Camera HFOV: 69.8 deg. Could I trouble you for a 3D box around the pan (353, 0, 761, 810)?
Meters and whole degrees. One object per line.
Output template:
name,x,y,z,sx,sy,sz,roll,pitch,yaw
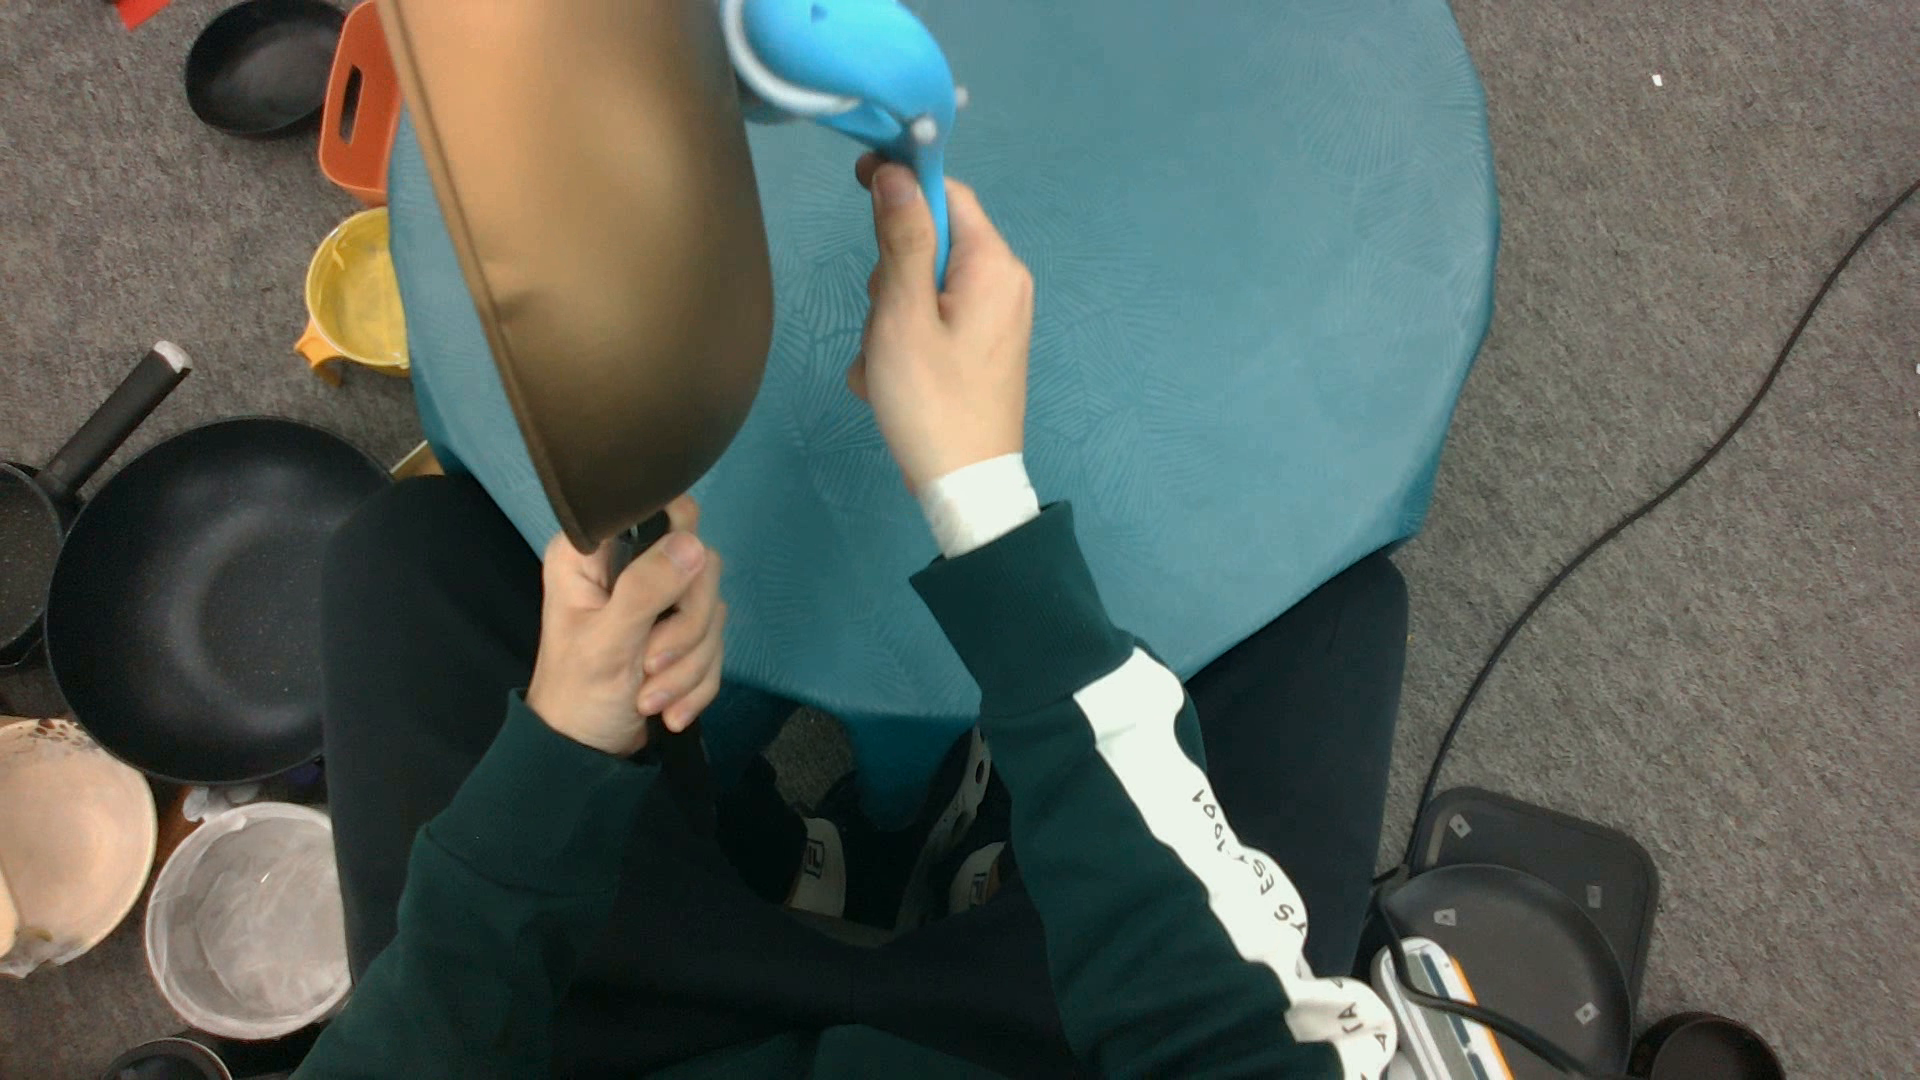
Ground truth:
pan,-0.114,-0.067,0.507,0.087,0.461,0.289,-16,37,-9

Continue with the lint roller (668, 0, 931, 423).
lint roller,-0.050,-0.137,0.523,0.068,0.229,0.180,-28,114,-7
